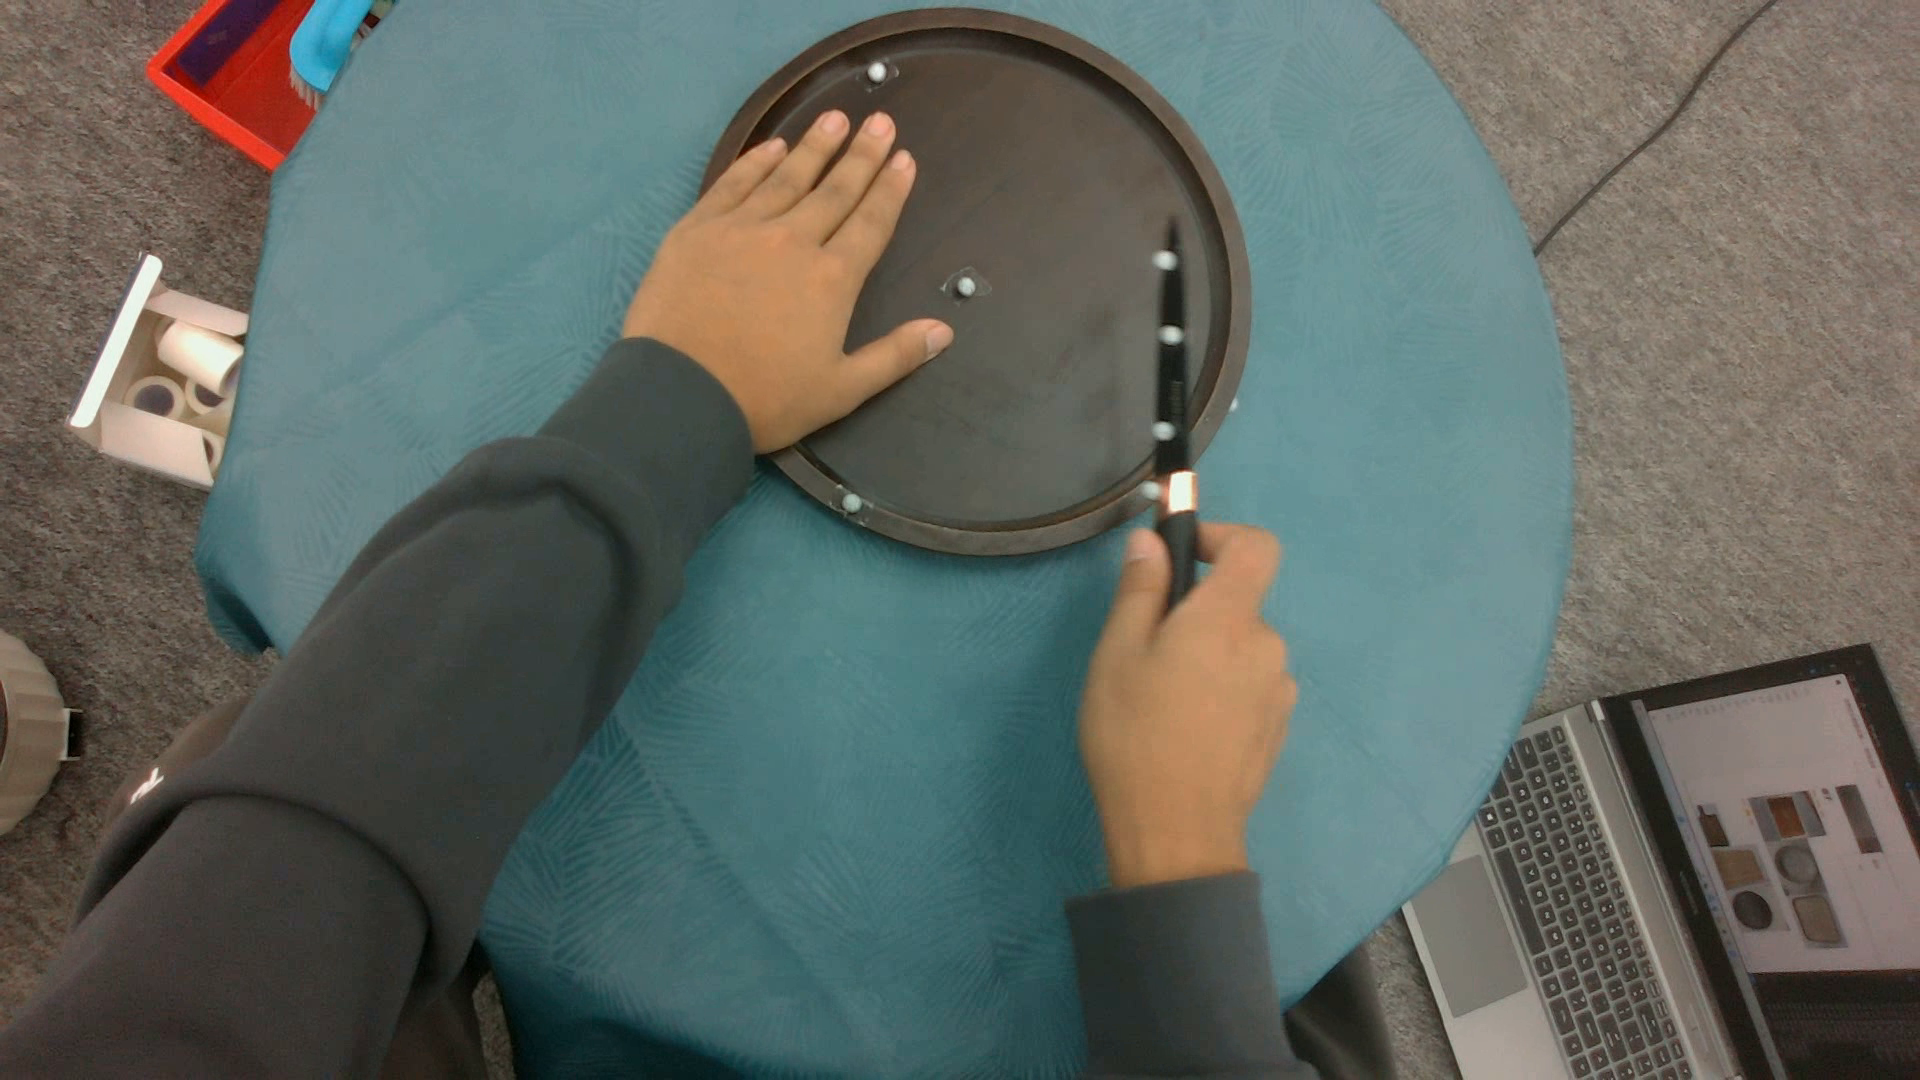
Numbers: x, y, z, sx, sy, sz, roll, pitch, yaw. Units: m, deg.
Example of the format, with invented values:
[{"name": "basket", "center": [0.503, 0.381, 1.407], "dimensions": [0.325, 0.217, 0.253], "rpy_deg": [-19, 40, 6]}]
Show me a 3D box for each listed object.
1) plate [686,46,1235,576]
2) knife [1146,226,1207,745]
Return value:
[{"name": "plate", "center": [0.004, -0.107, 0.630], "dimensions": [0.255, 0.029, 0.255], "rpy_deg": [2, 79, -10]}, {"name": "knife", "center": [0.091, -0.027, 0.586], "dimensions": [0.017, 0.026, 0.226], "rpy_deg": [4, 81, -37]}]
